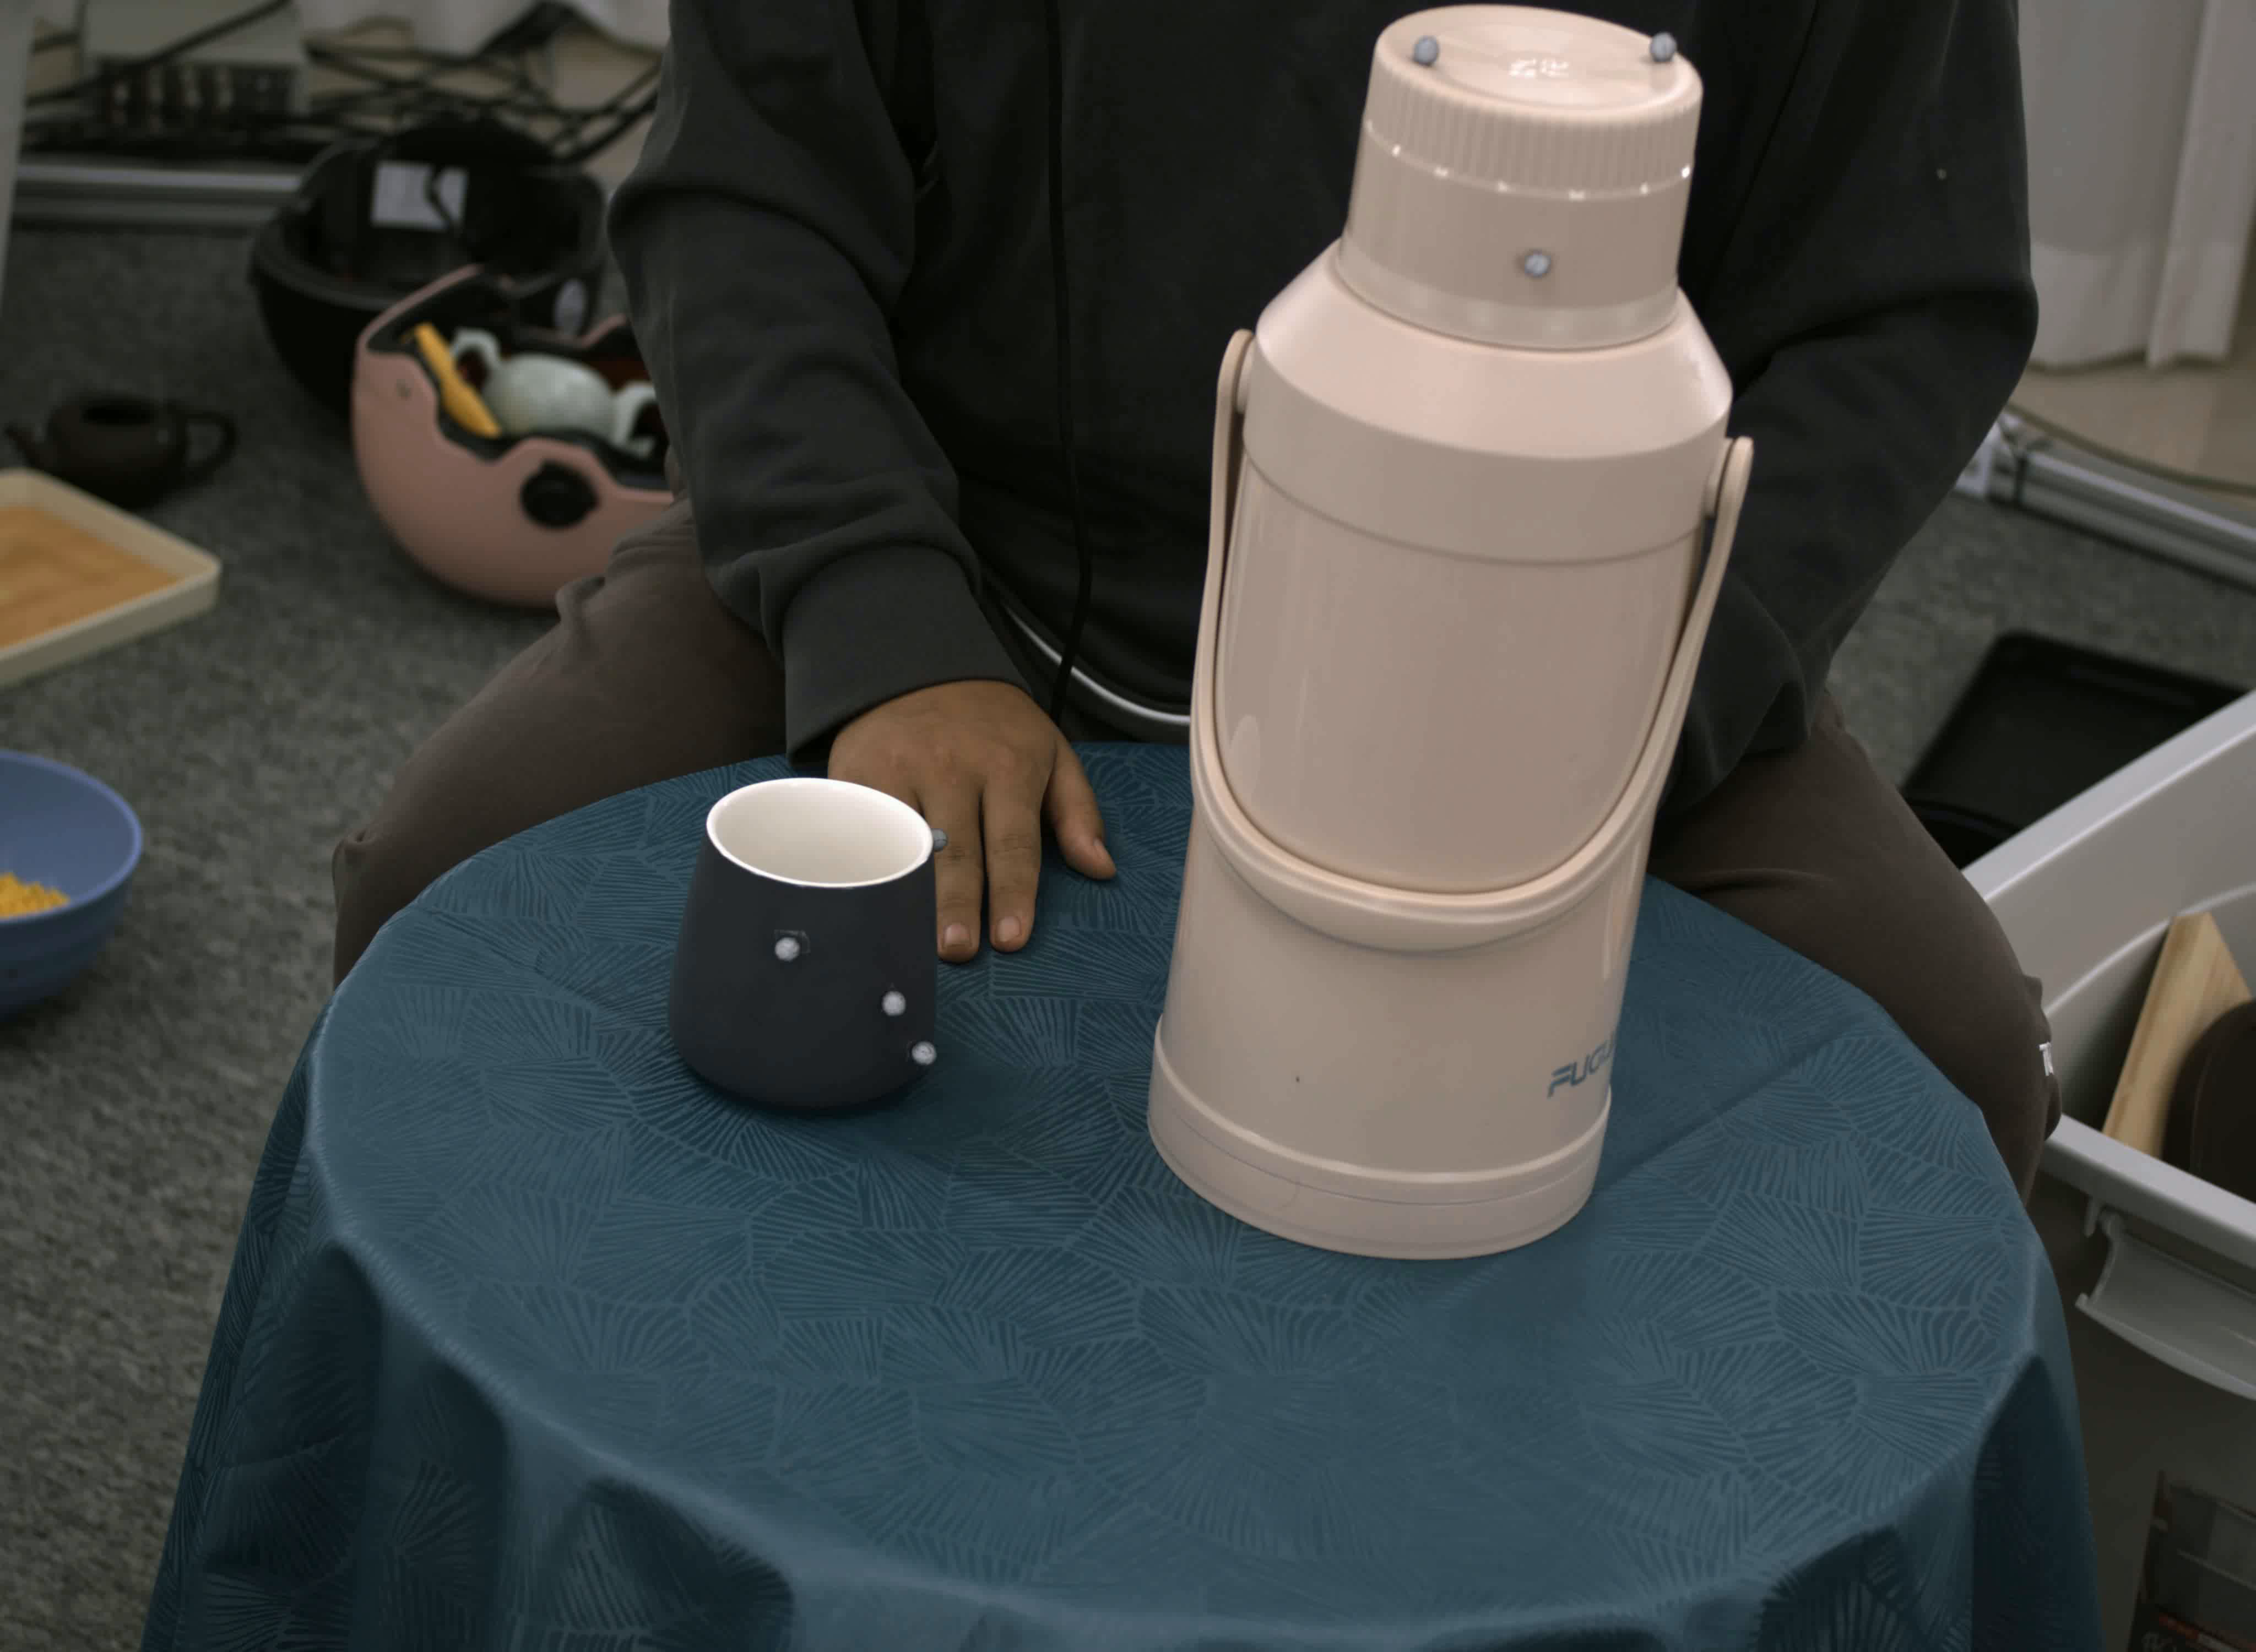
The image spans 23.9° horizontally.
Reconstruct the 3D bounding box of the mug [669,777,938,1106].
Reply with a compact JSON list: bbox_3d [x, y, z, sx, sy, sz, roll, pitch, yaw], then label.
[{"bbox_3d":[-0.108,0.034,1.856,0.093,0.089,0.124,10,27,5],"label":"mug"}]

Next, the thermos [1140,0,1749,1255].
[{"bbox_3d":[0.111,-0.072,1.781,0.175,0.405,0.207,12,27,11],"label":"thermos"}]
